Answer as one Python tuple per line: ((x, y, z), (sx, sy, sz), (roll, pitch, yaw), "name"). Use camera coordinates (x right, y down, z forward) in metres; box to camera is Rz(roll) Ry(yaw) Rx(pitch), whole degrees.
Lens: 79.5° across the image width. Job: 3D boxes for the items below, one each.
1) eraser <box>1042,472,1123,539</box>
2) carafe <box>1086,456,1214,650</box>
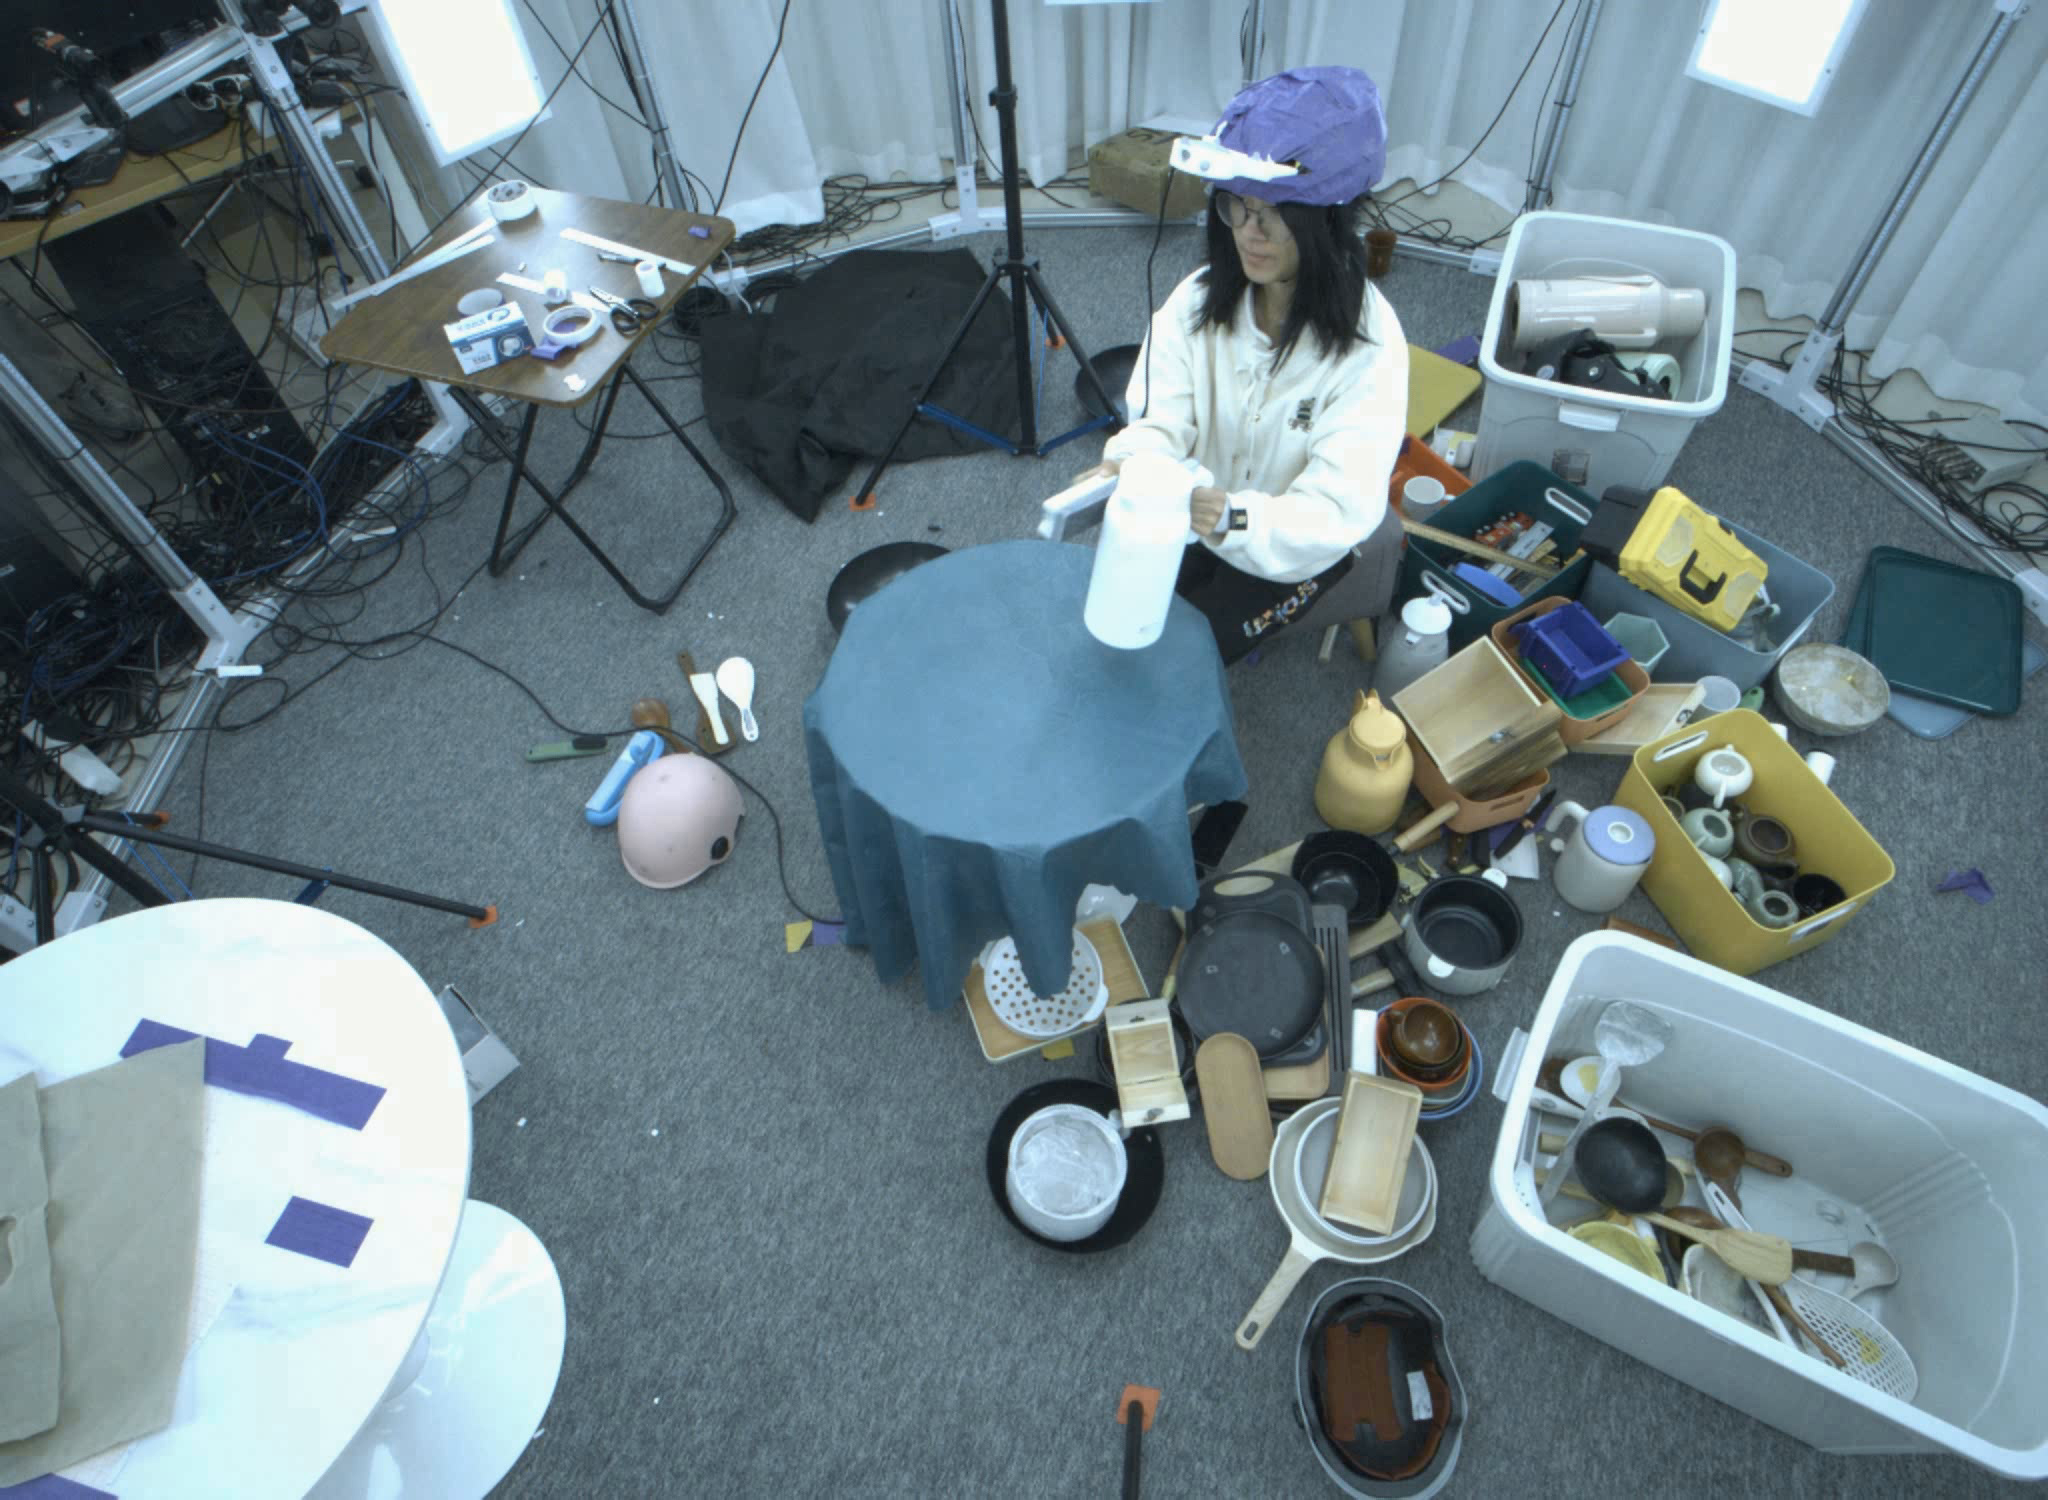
((0.086, -0.336, 1.676), (0.046, 0.050, 0.136), (36, 46, 25), "eraser")
((0.173, -0.279, 1.710), (0.175, 0.271, 0.121), (-28, 56, -29), "carafe")
